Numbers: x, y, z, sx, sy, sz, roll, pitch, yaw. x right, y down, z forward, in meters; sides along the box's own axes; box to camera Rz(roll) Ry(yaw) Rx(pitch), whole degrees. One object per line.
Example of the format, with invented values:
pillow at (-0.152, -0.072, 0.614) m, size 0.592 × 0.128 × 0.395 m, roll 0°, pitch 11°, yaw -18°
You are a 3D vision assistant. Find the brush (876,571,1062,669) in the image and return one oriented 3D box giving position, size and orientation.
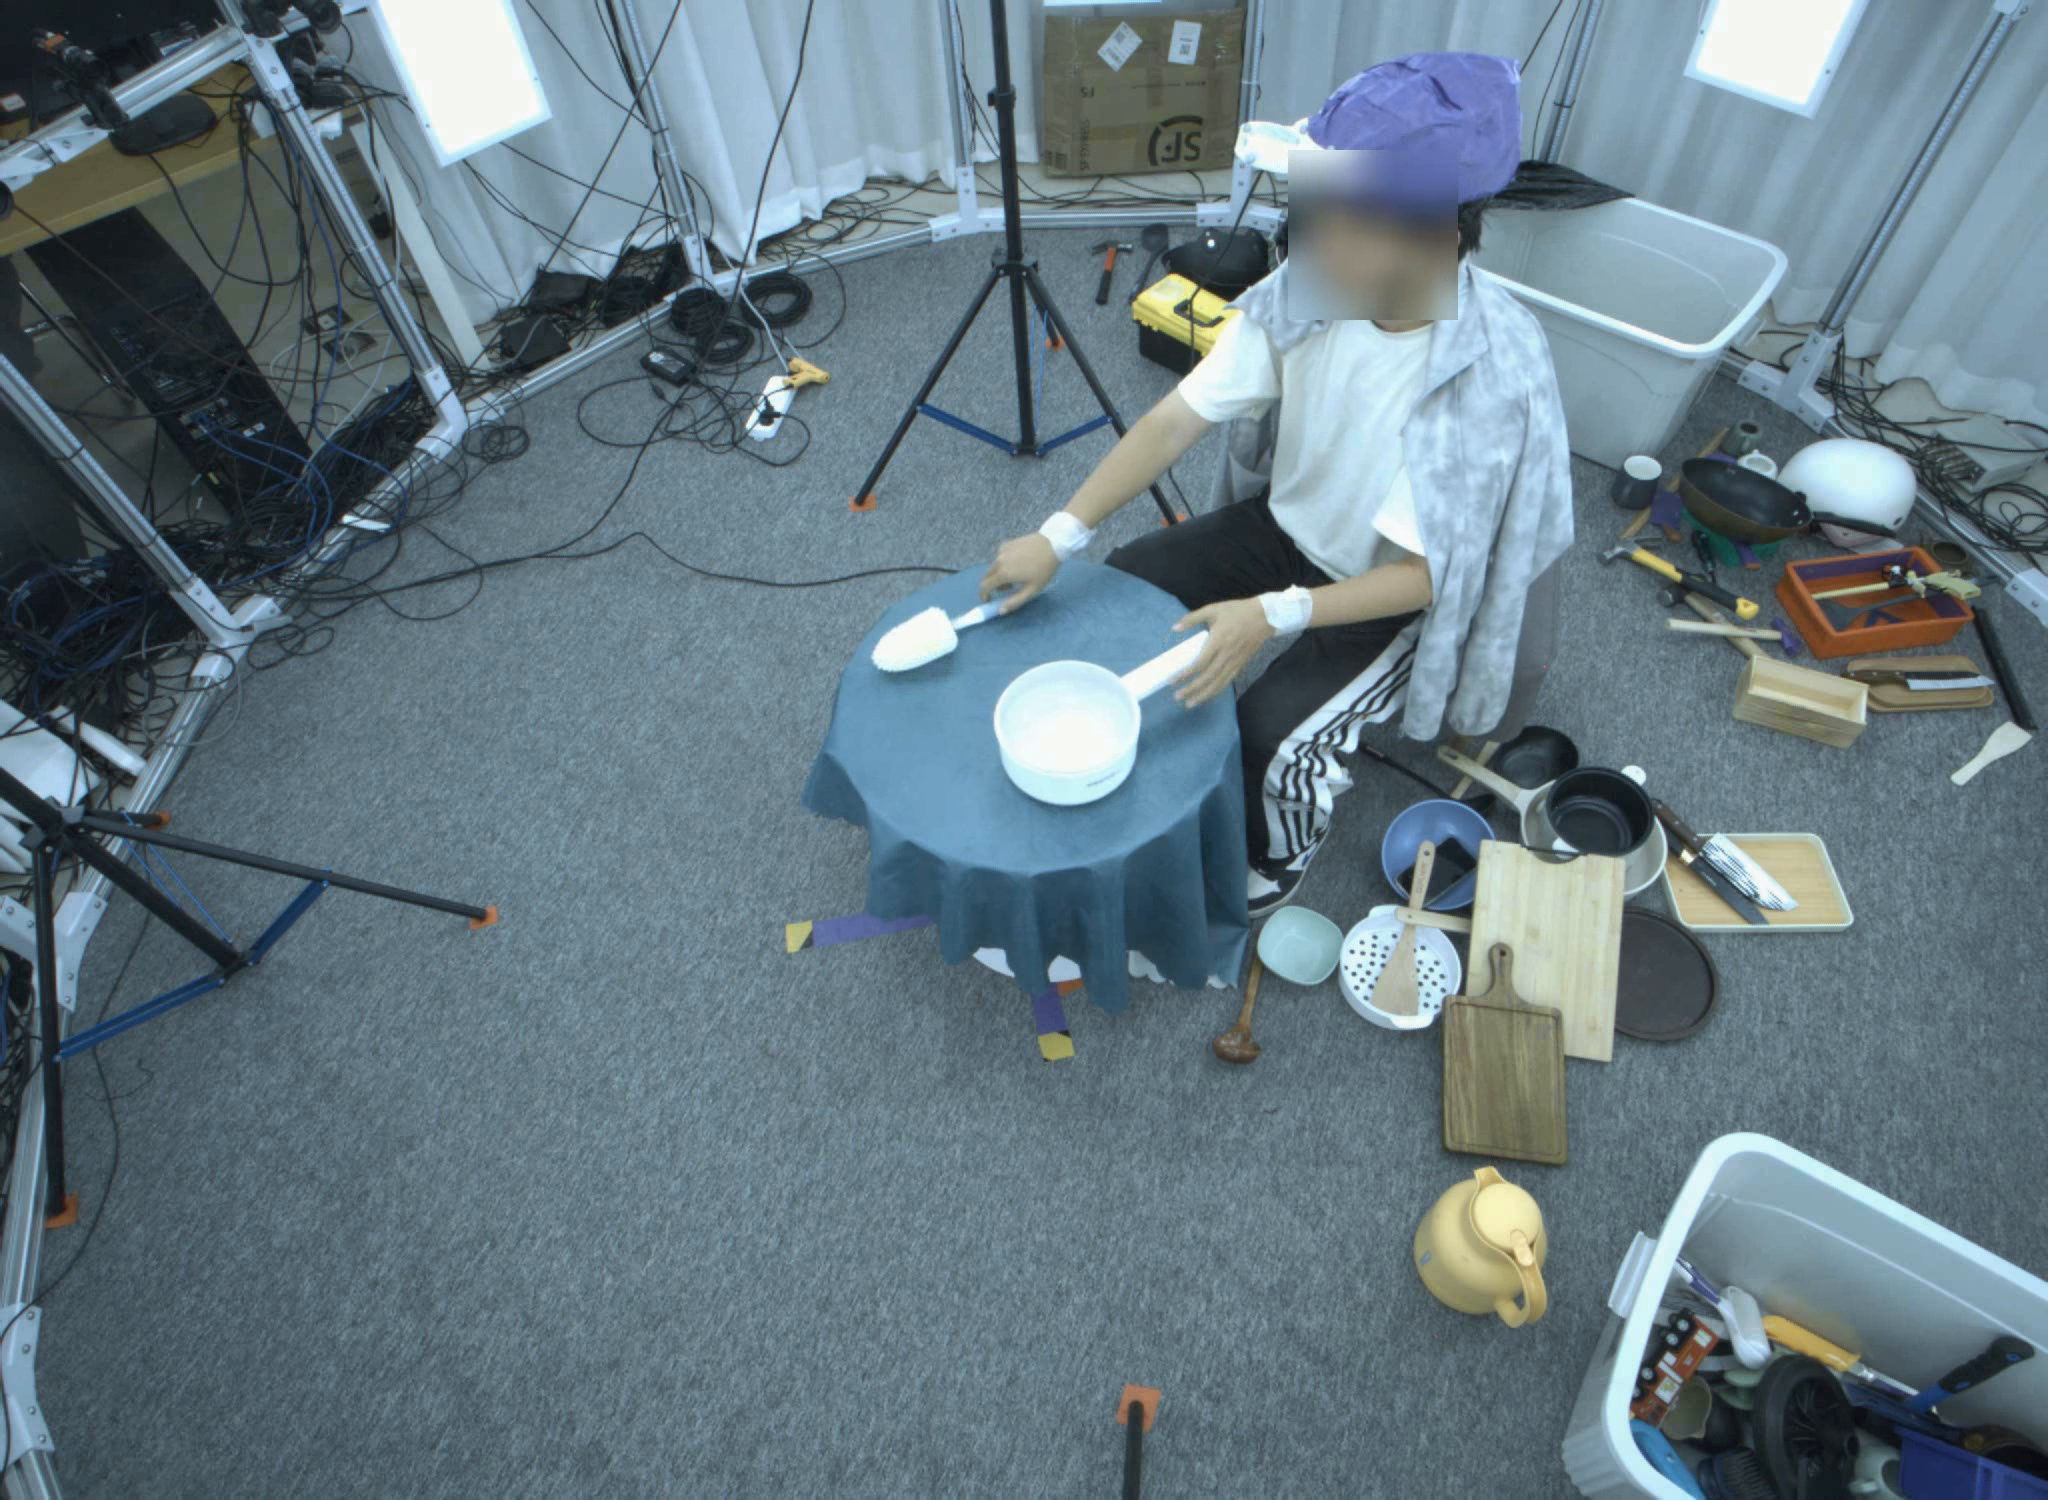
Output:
brush at (-0.079, -0.211, 1.887) m, size 0.327 × 0.084 × 0.082 m, roll -27°, pitch 43°, yaw -13°

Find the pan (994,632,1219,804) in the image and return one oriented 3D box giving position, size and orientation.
pan at (0.125, -0.055, 1.765) m, size 0.358 × 0.103 × 0.197 m, roll -29°, pitch 58°, yaw -18°
